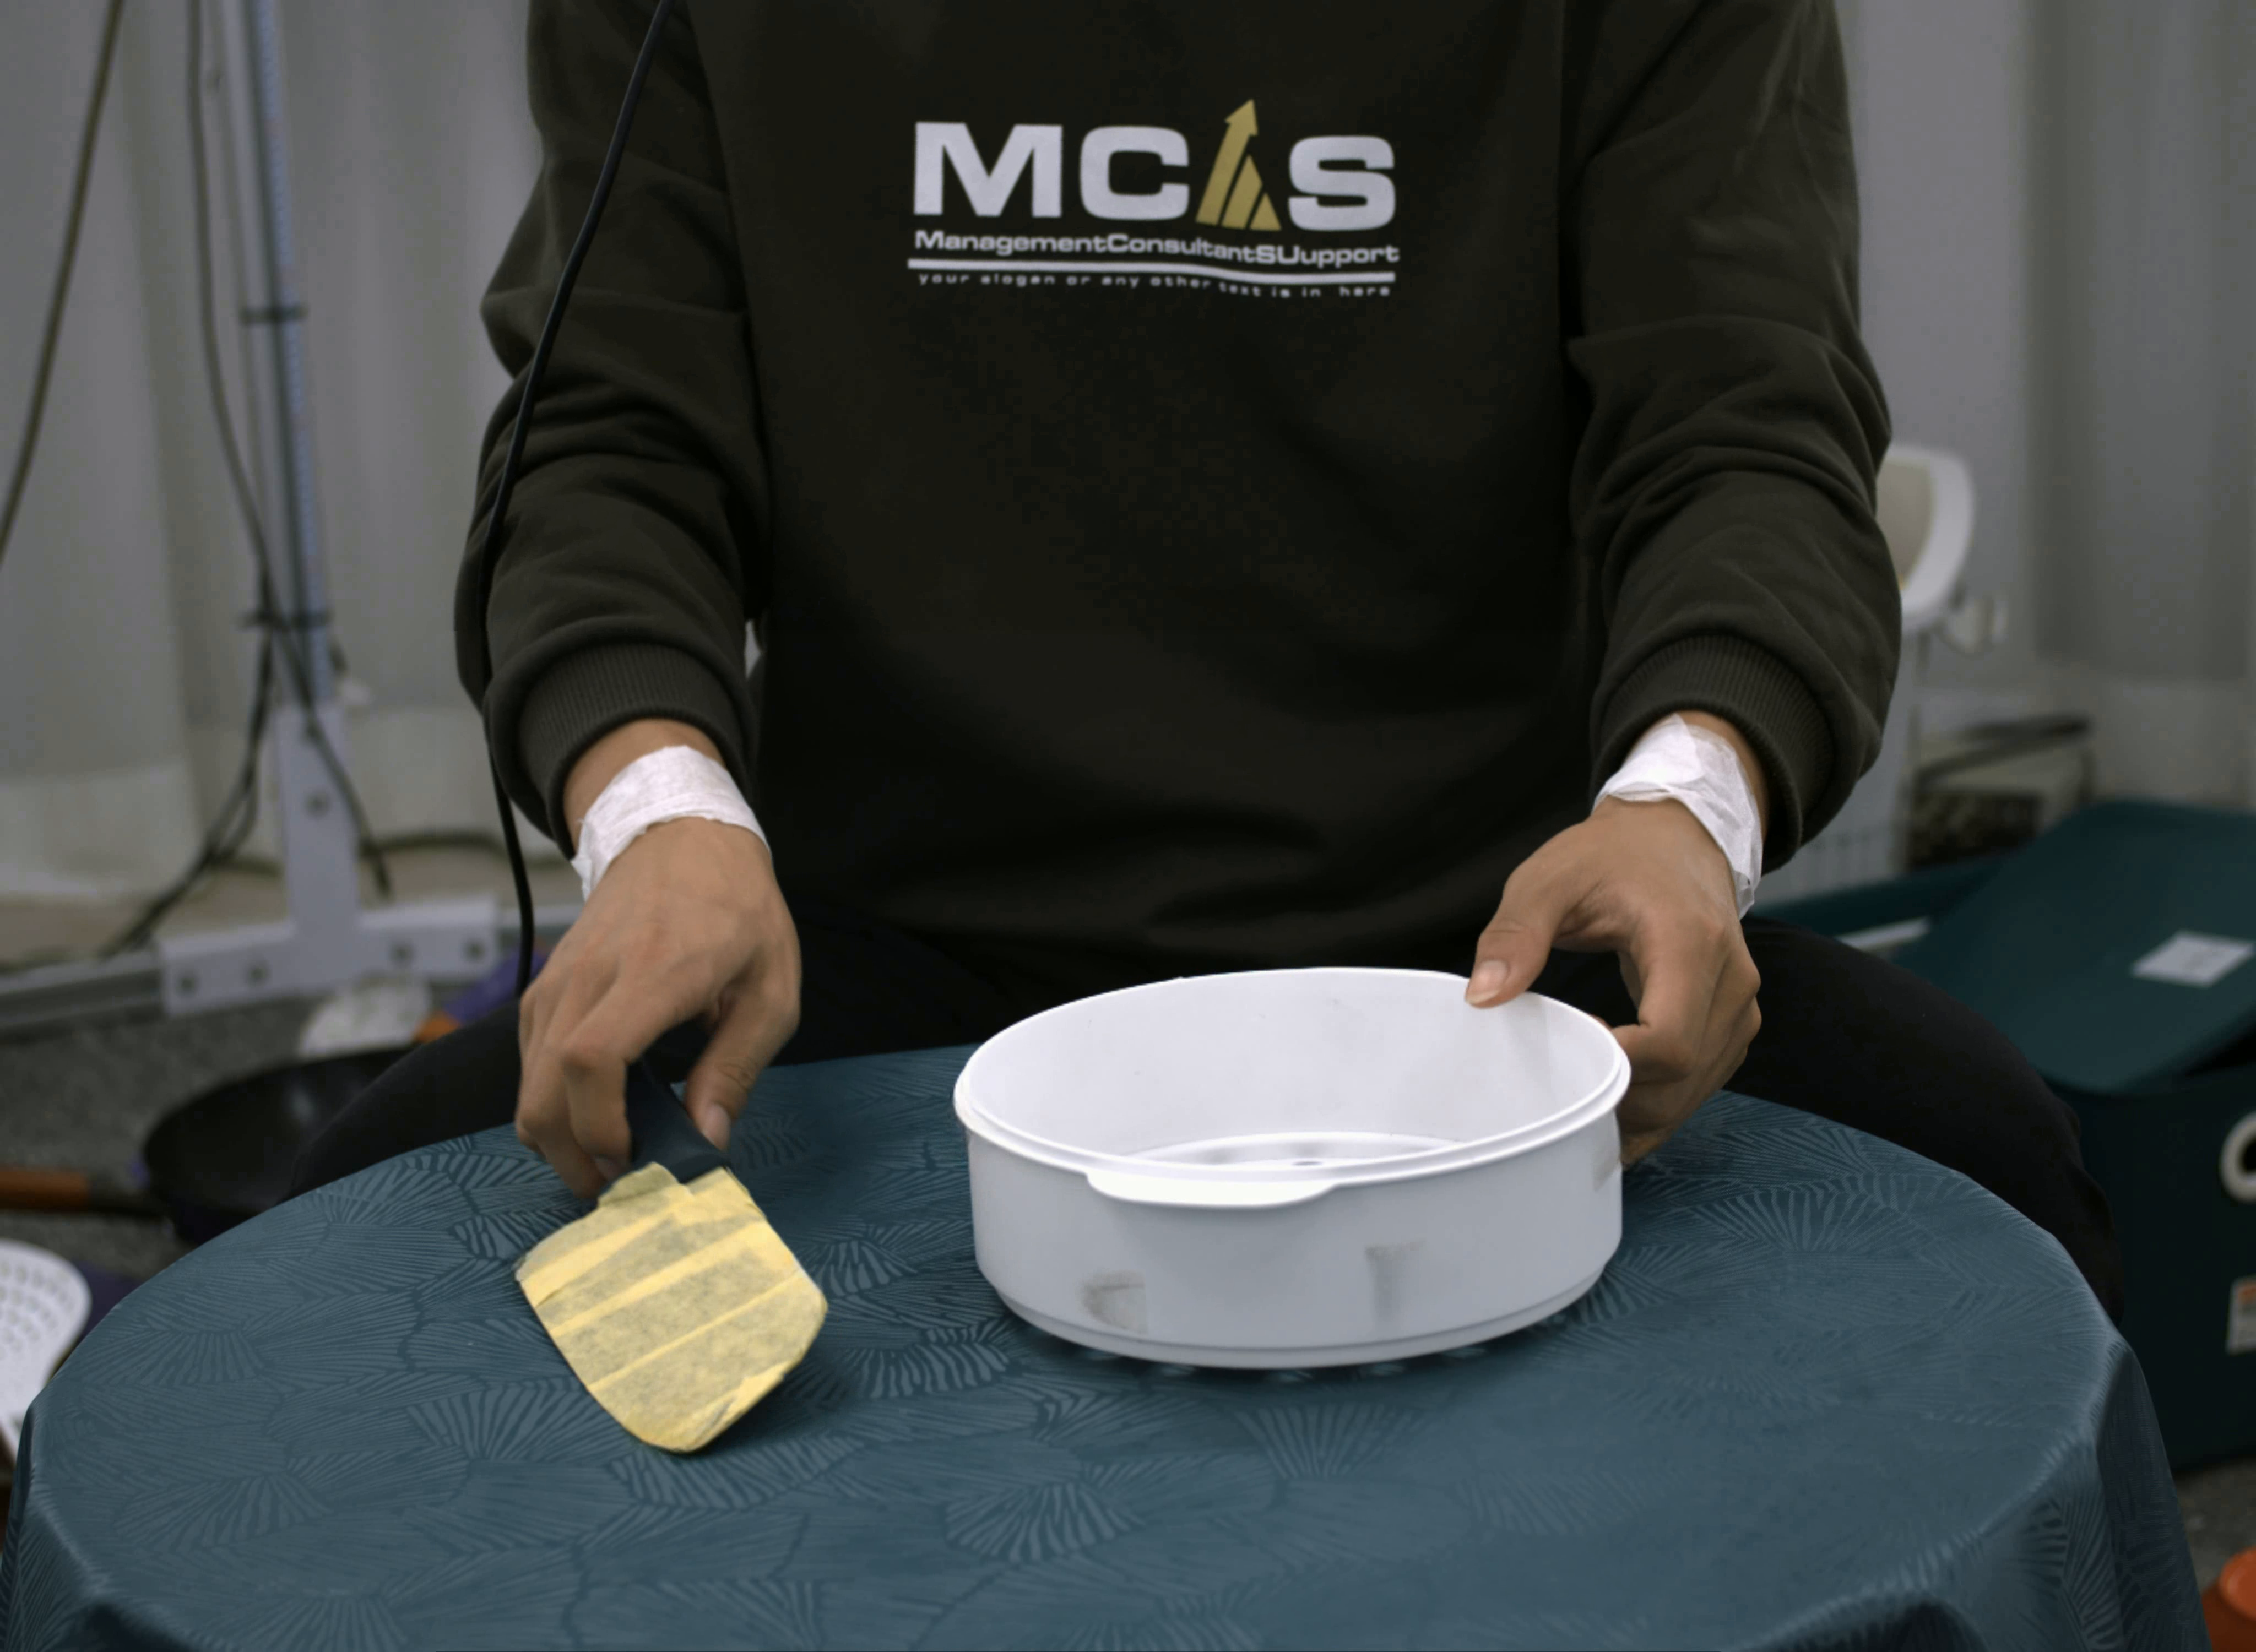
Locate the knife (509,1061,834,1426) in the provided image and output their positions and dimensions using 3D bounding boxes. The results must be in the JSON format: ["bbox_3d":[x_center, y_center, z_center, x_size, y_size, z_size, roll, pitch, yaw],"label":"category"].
[{"bbox_3d":[-0.146,0.125,1.648,0.081,0.027,0.292,-22,20,-8],"label":"knife"}]

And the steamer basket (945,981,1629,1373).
[{"bbox_3d":[0.047,0.103,1.621,0.202,0.069,0.231,3,14,16],"label":"steamer basket"}]
